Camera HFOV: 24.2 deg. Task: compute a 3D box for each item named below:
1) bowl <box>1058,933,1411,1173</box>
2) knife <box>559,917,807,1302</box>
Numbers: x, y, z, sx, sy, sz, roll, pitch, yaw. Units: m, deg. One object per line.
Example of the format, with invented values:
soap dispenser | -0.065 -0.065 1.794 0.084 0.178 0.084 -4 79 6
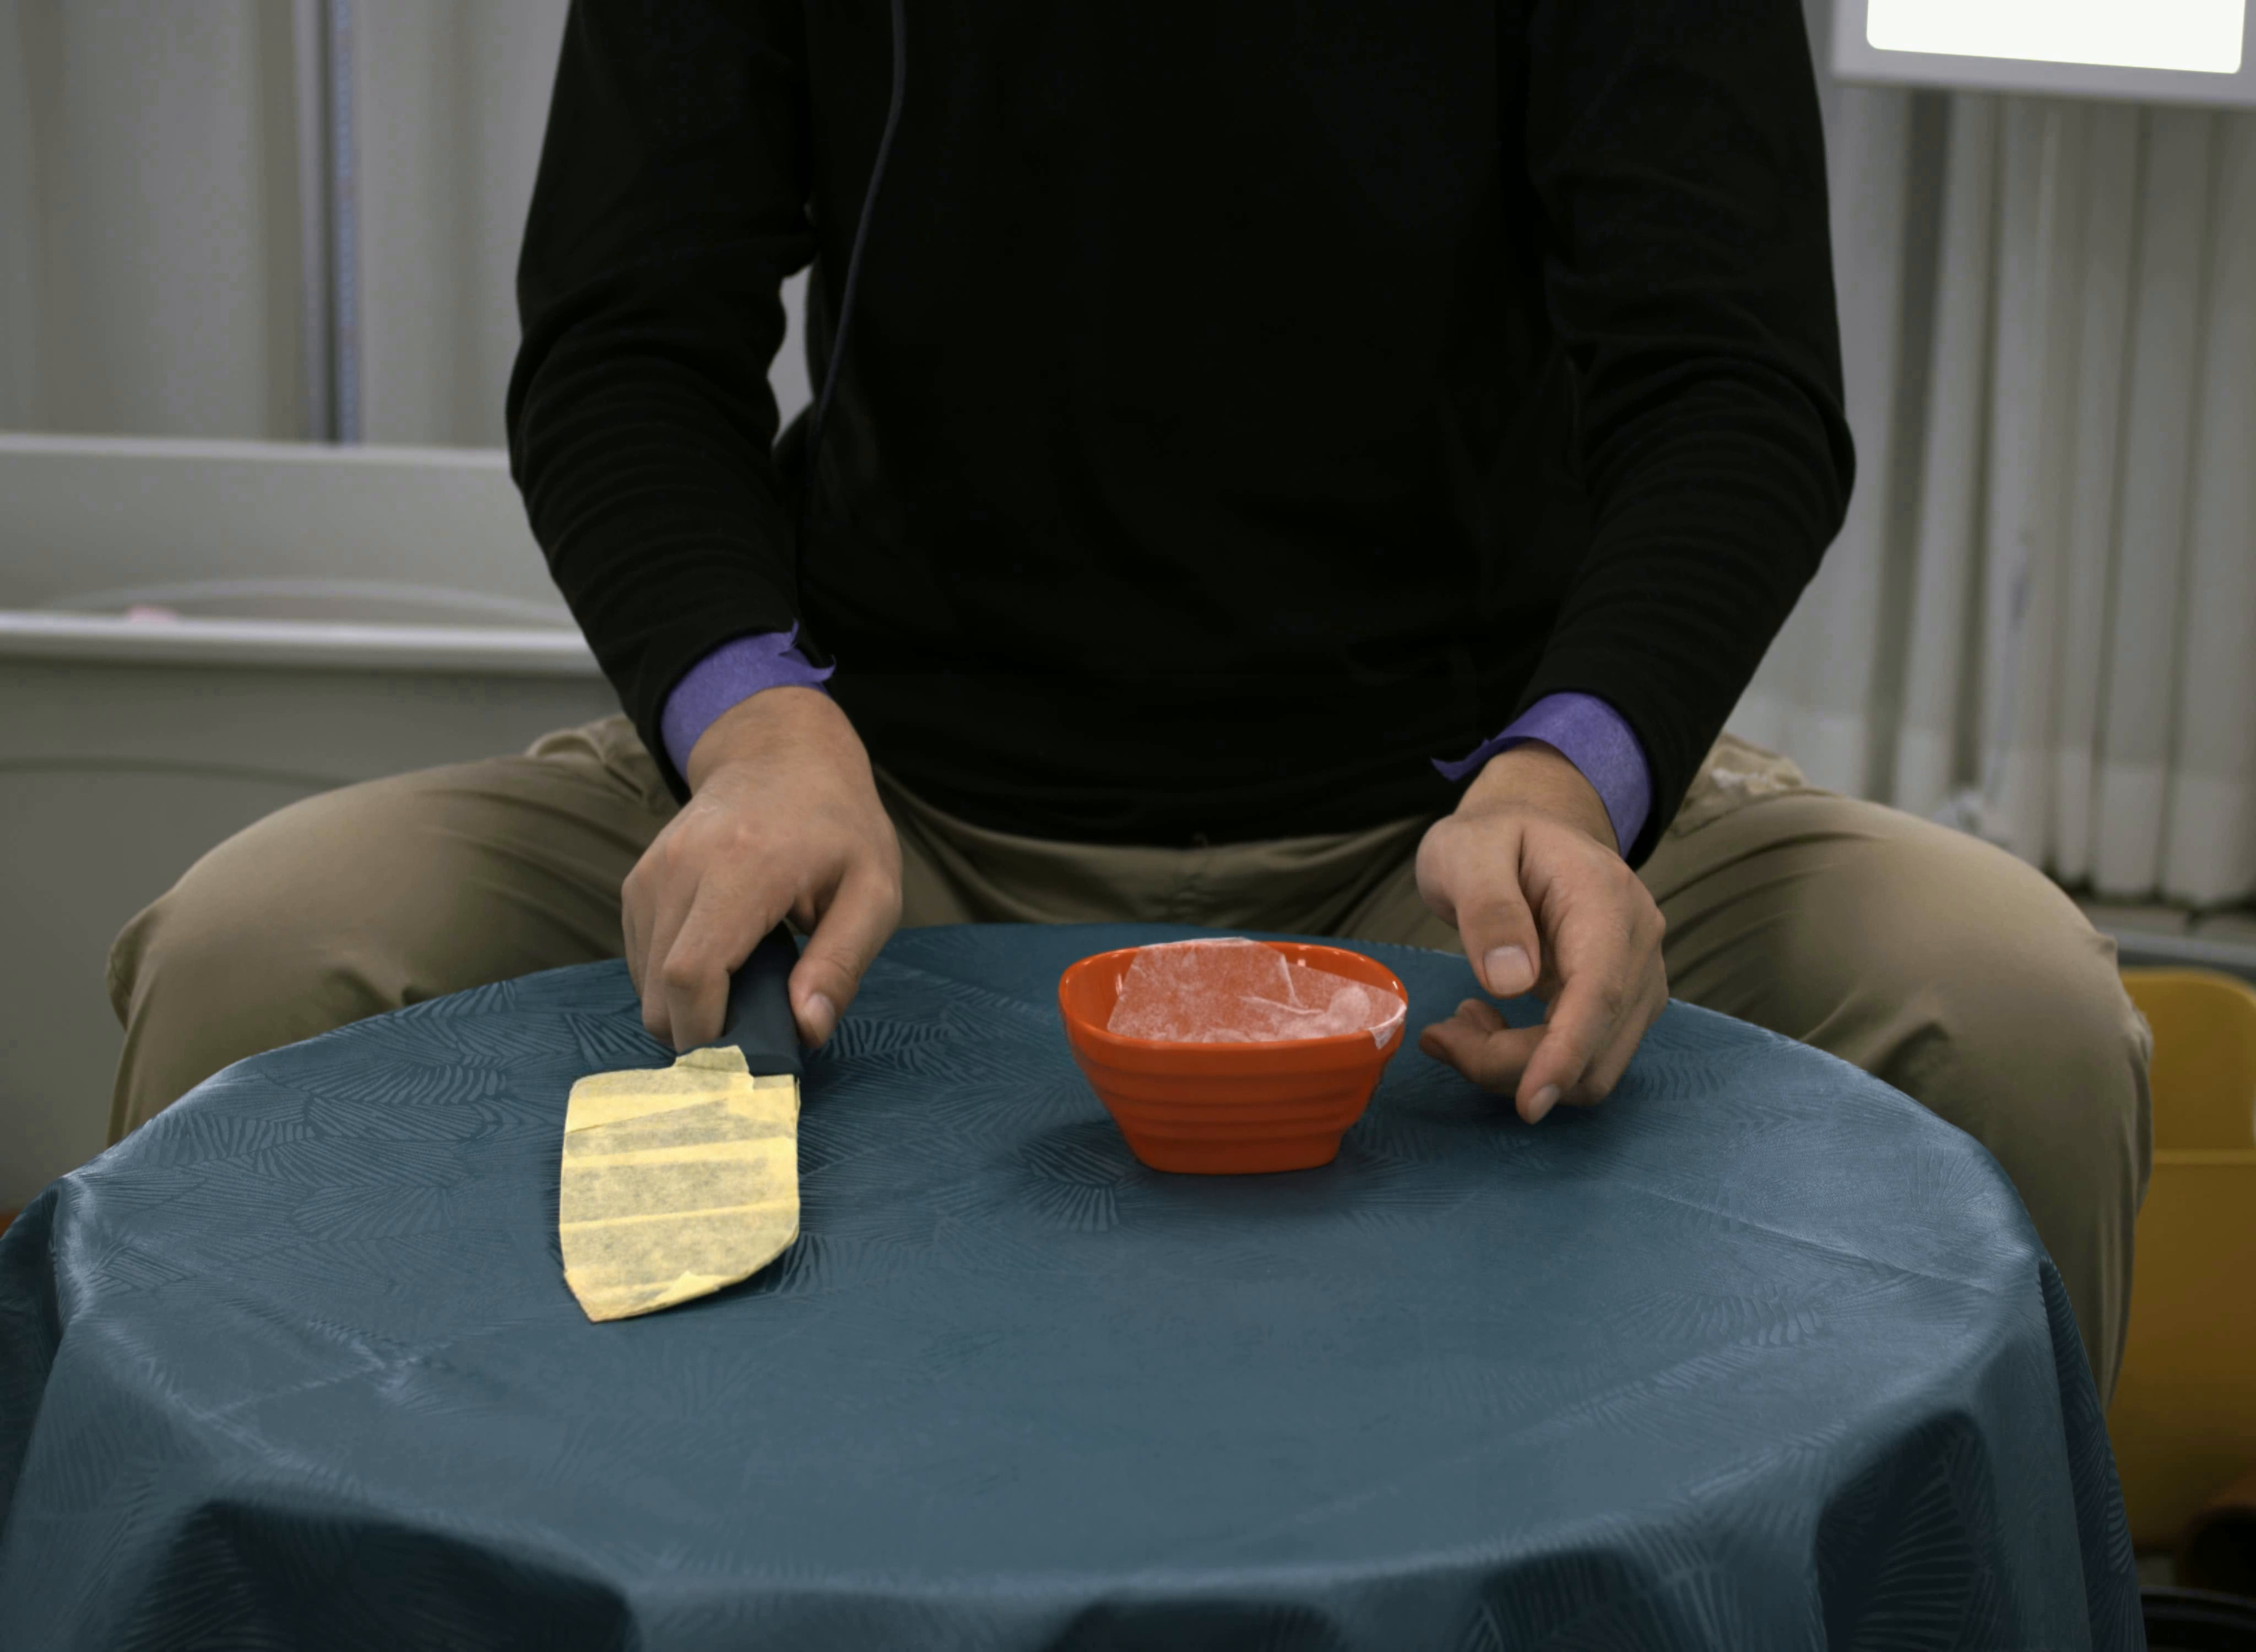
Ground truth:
bowl | 0.034 0.074 1.662 0.118 0.052 0.118 -1 17 1
knife | -0.137 0.087 1.646 0.081 0.027 0.287 -3 20 0
